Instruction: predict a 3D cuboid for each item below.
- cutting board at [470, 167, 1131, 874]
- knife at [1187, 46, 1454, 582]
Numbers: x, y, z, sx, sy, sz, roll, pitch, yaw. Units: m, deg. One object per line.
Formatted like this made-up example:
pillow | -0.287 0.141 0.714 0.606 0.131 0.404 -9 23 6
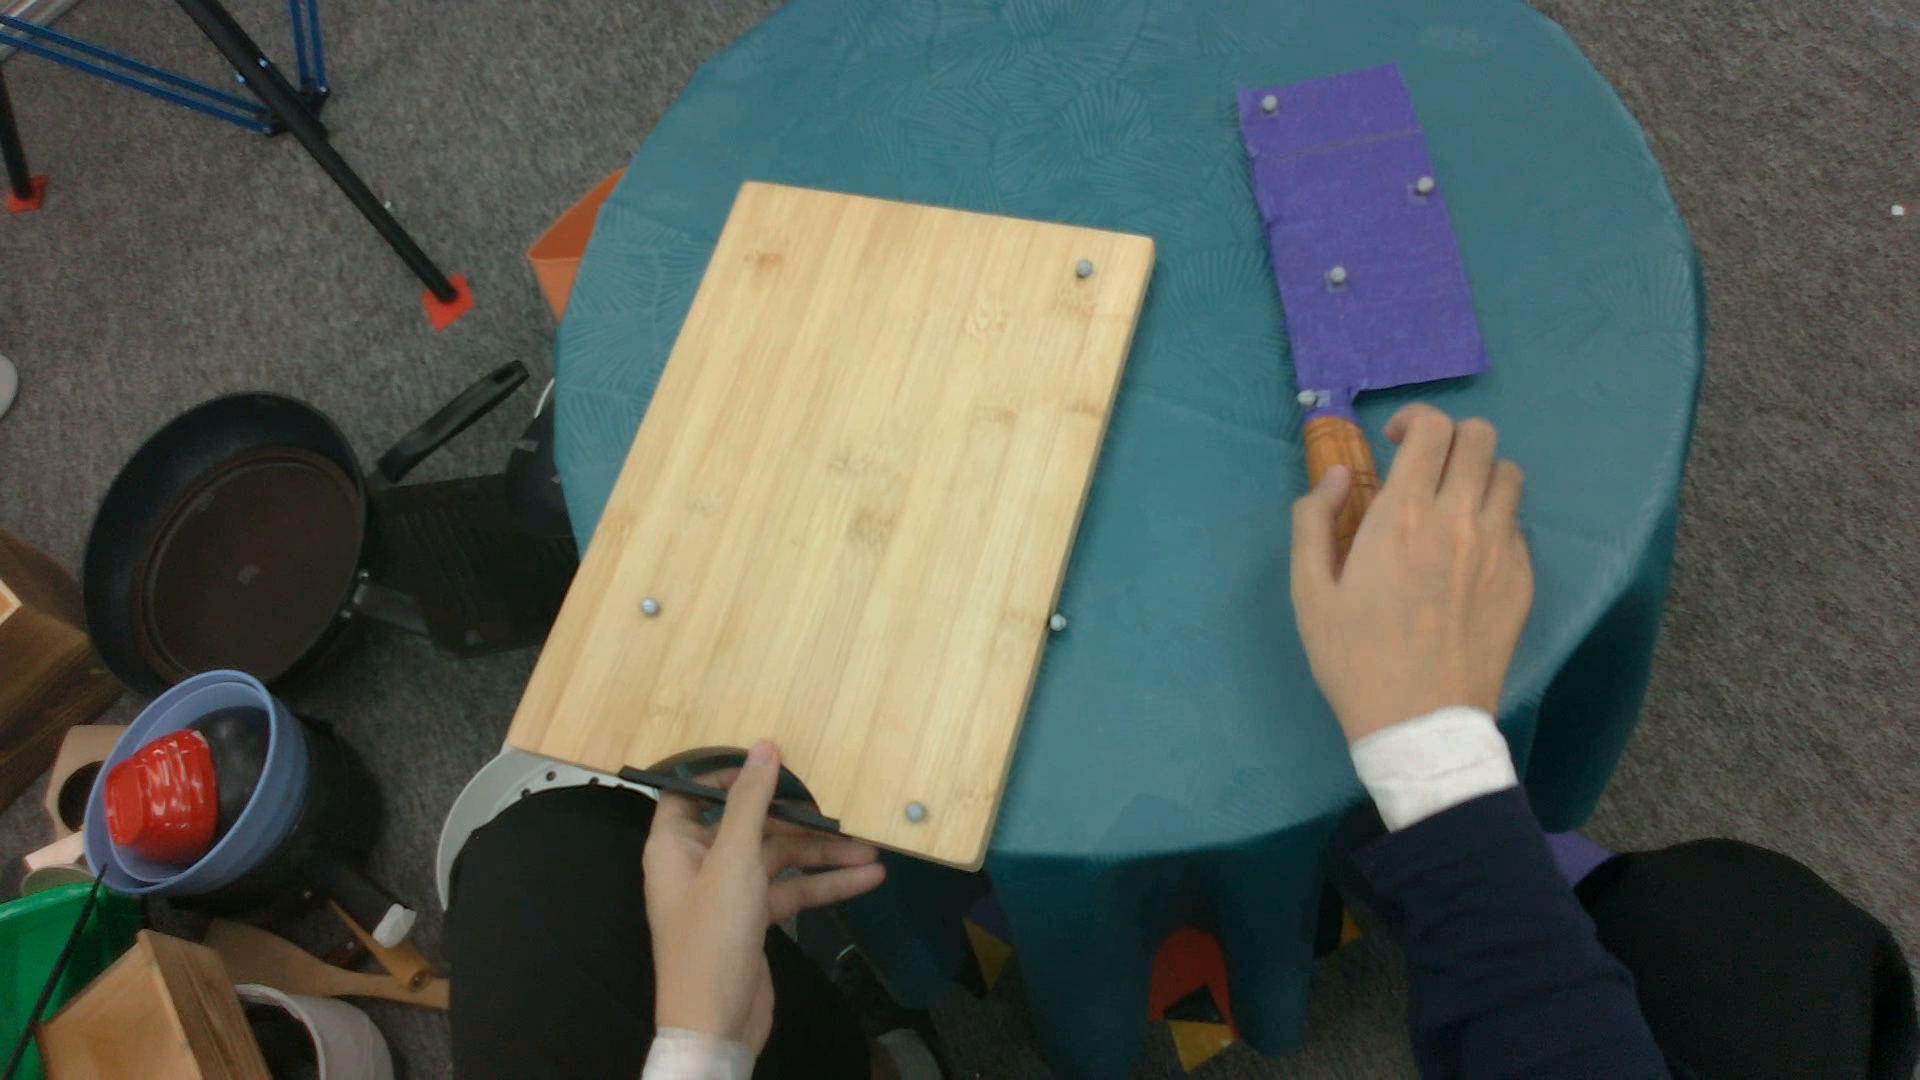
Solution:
cutting board | -0.071 -0.030 0.699 0.250 0.023 0.350 11 68 14
knife | 0.193 -0.131 0.696 0.104 0.032 0.316 -9 64 5
